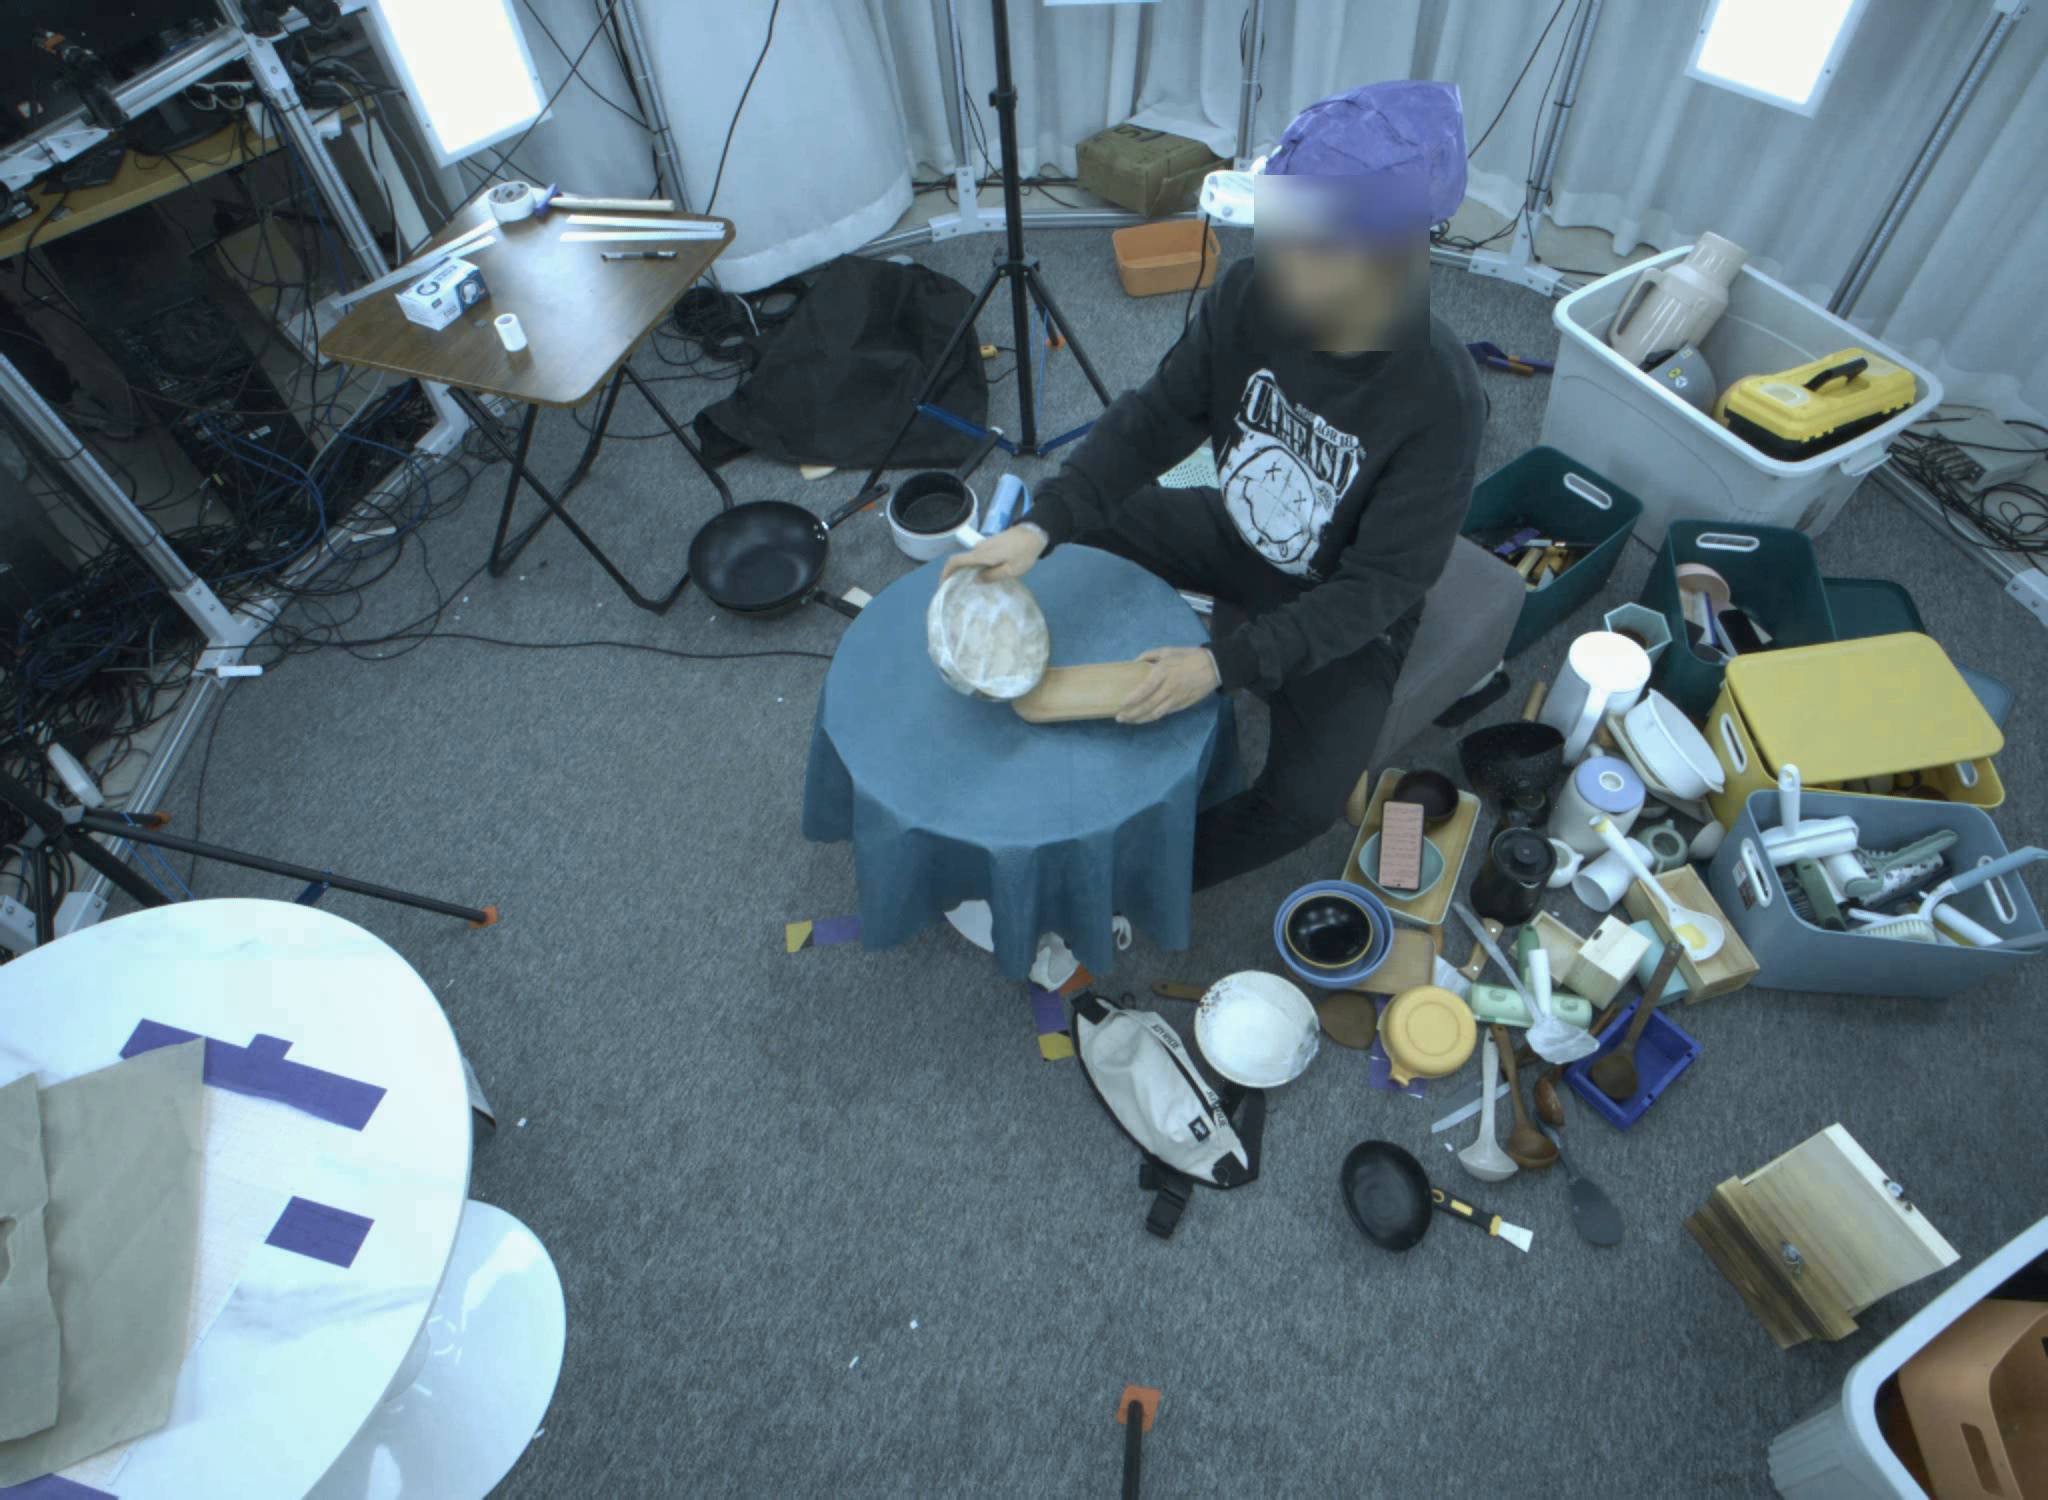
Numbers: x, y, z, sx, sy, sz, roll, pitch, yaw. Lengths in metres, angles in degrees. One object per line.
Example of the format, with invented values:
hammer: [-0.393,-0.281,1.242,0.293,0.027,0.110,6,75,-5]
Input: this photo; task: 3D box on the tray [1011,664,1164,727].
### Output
tray: [0.093,-0.079,1.813,0.229,0.020,0.101,-5,48,15]

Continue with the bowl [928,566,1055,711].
bowl: [-0.062,-0.153,1.782,0.093,0.219,0.214,-16,41,46]
